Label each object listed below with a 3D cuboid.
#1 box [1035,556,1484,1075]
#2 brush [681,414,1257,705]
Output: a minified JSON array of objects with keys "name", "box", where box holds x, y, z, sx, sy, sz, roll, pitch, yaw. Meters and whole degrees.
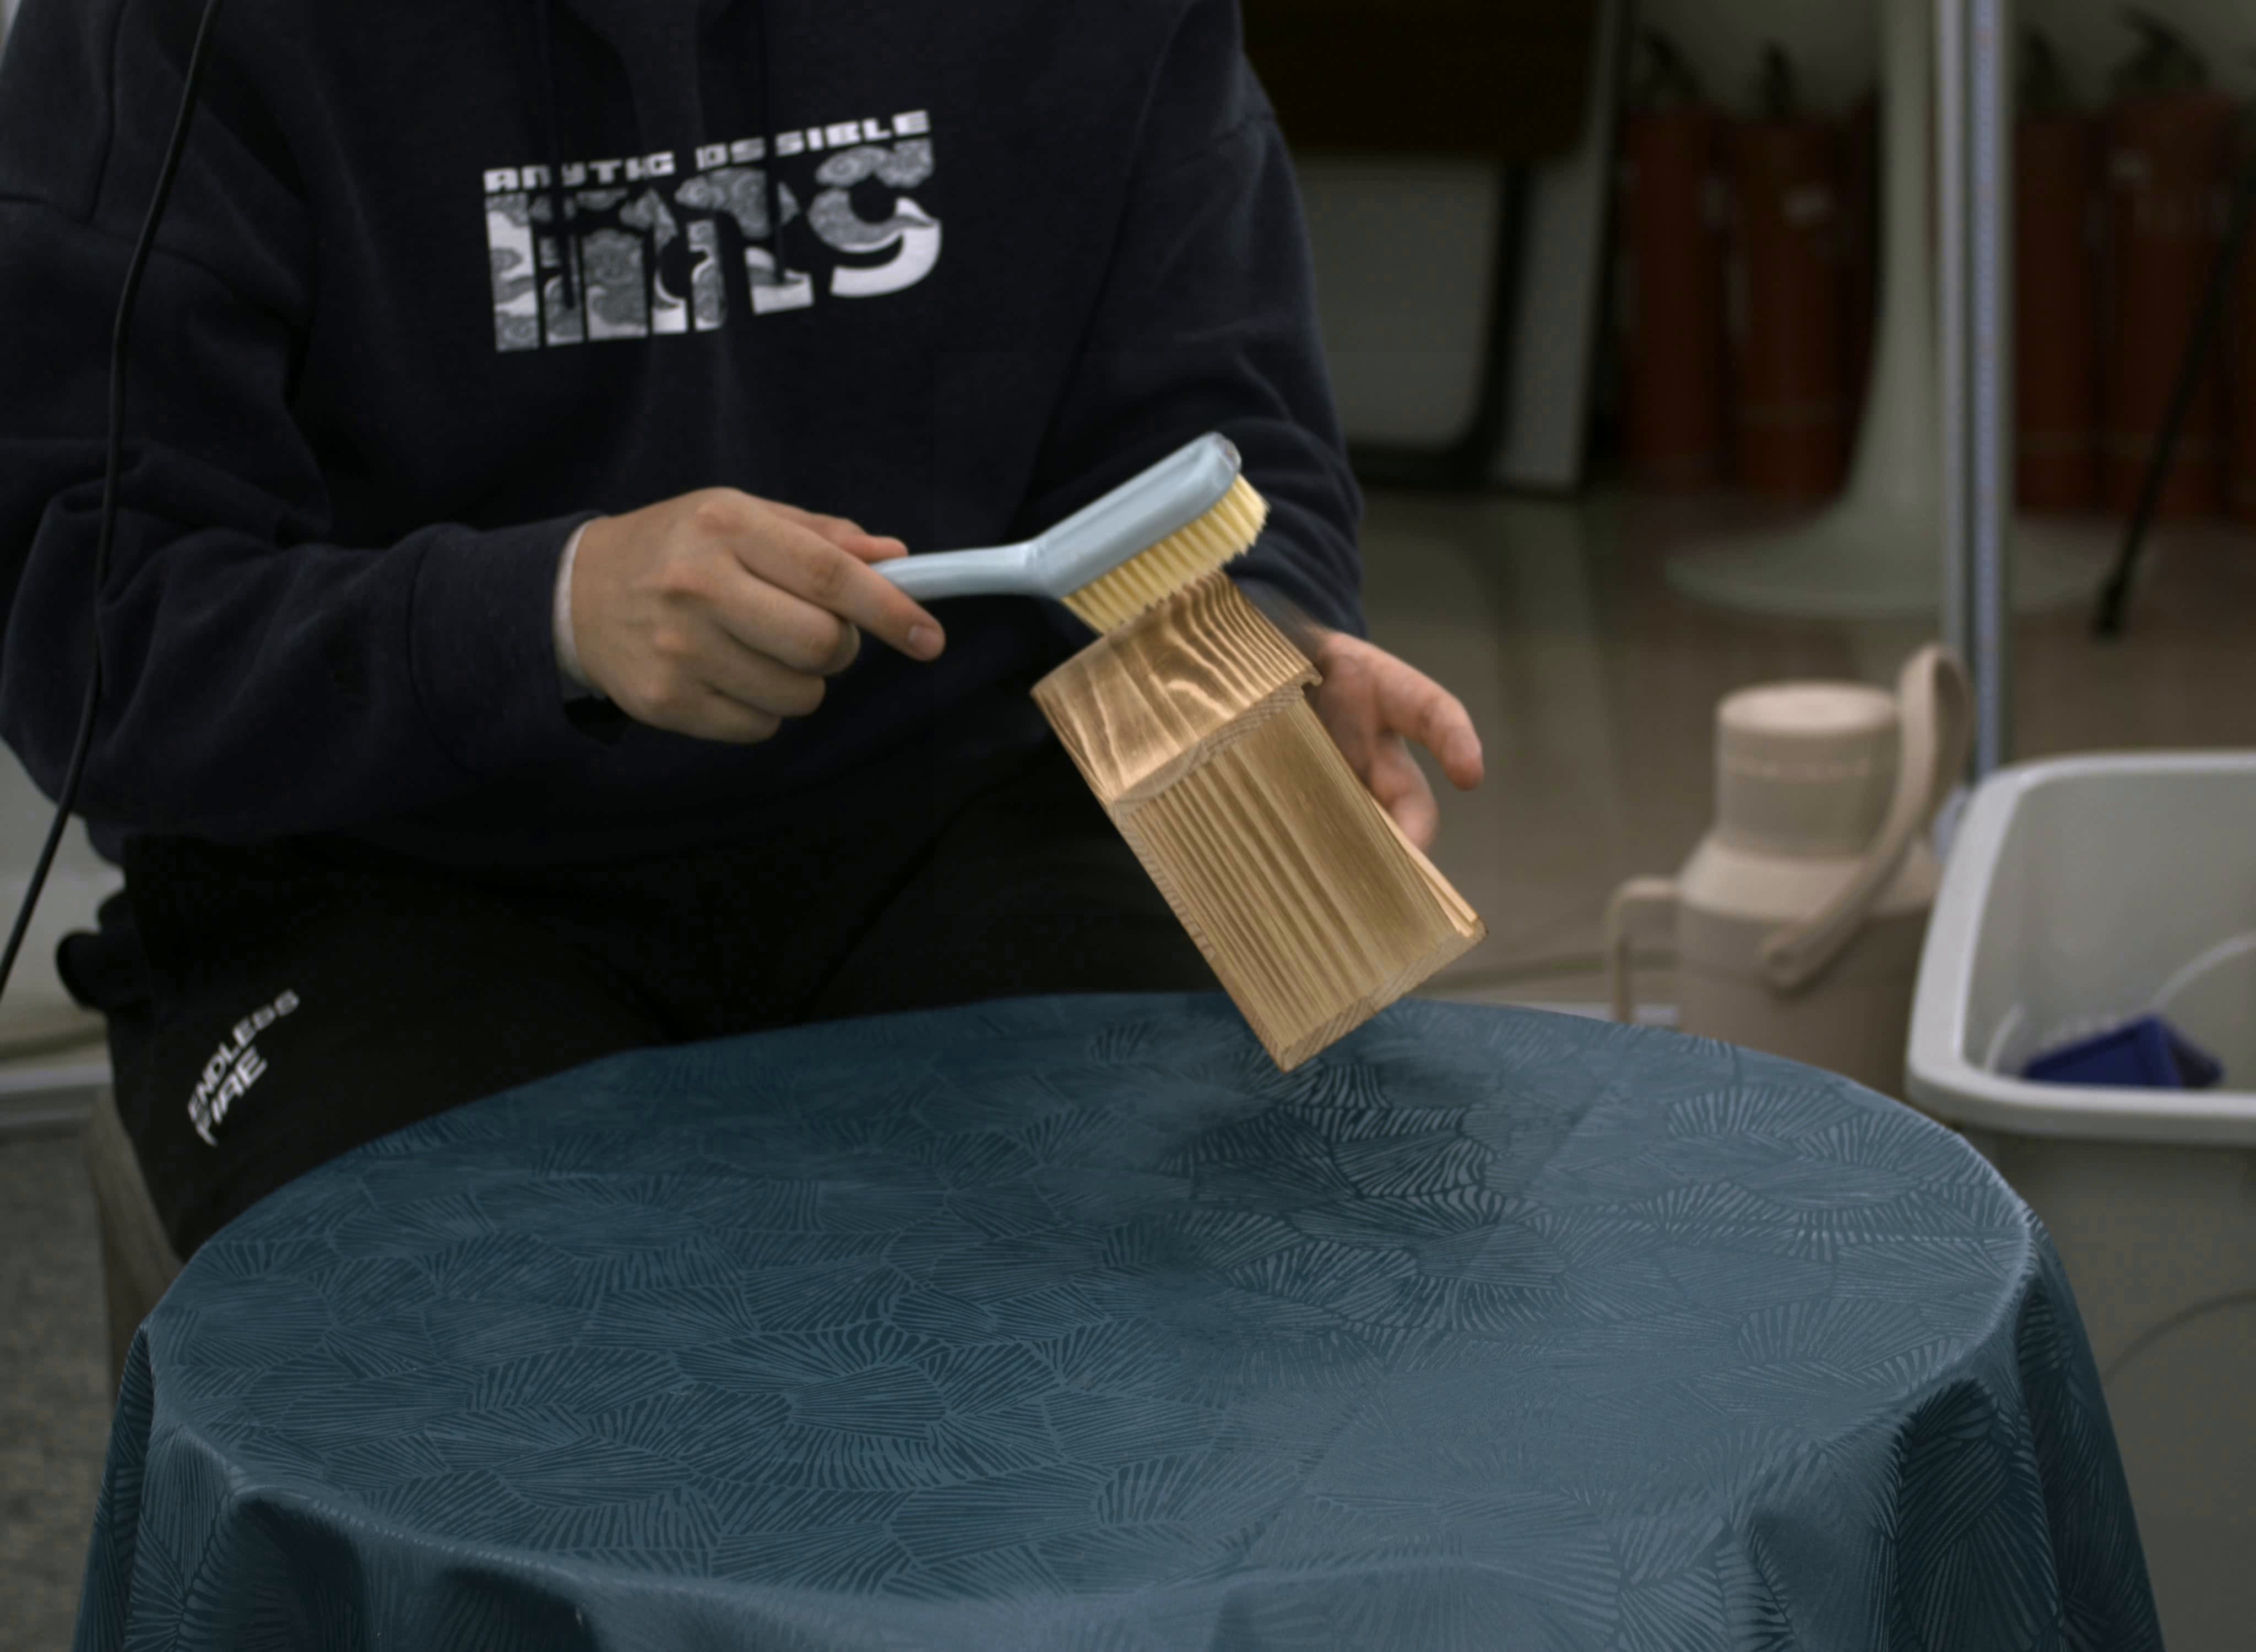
[{"name":"box","box":[0.040,-0.008,1.768,0.080,0.107,0.212,-34,13,1]},{"name":"brush","box":[-0.057,-0.080,1.844,0.229,0.049,0.038,-20,31,25]}]
